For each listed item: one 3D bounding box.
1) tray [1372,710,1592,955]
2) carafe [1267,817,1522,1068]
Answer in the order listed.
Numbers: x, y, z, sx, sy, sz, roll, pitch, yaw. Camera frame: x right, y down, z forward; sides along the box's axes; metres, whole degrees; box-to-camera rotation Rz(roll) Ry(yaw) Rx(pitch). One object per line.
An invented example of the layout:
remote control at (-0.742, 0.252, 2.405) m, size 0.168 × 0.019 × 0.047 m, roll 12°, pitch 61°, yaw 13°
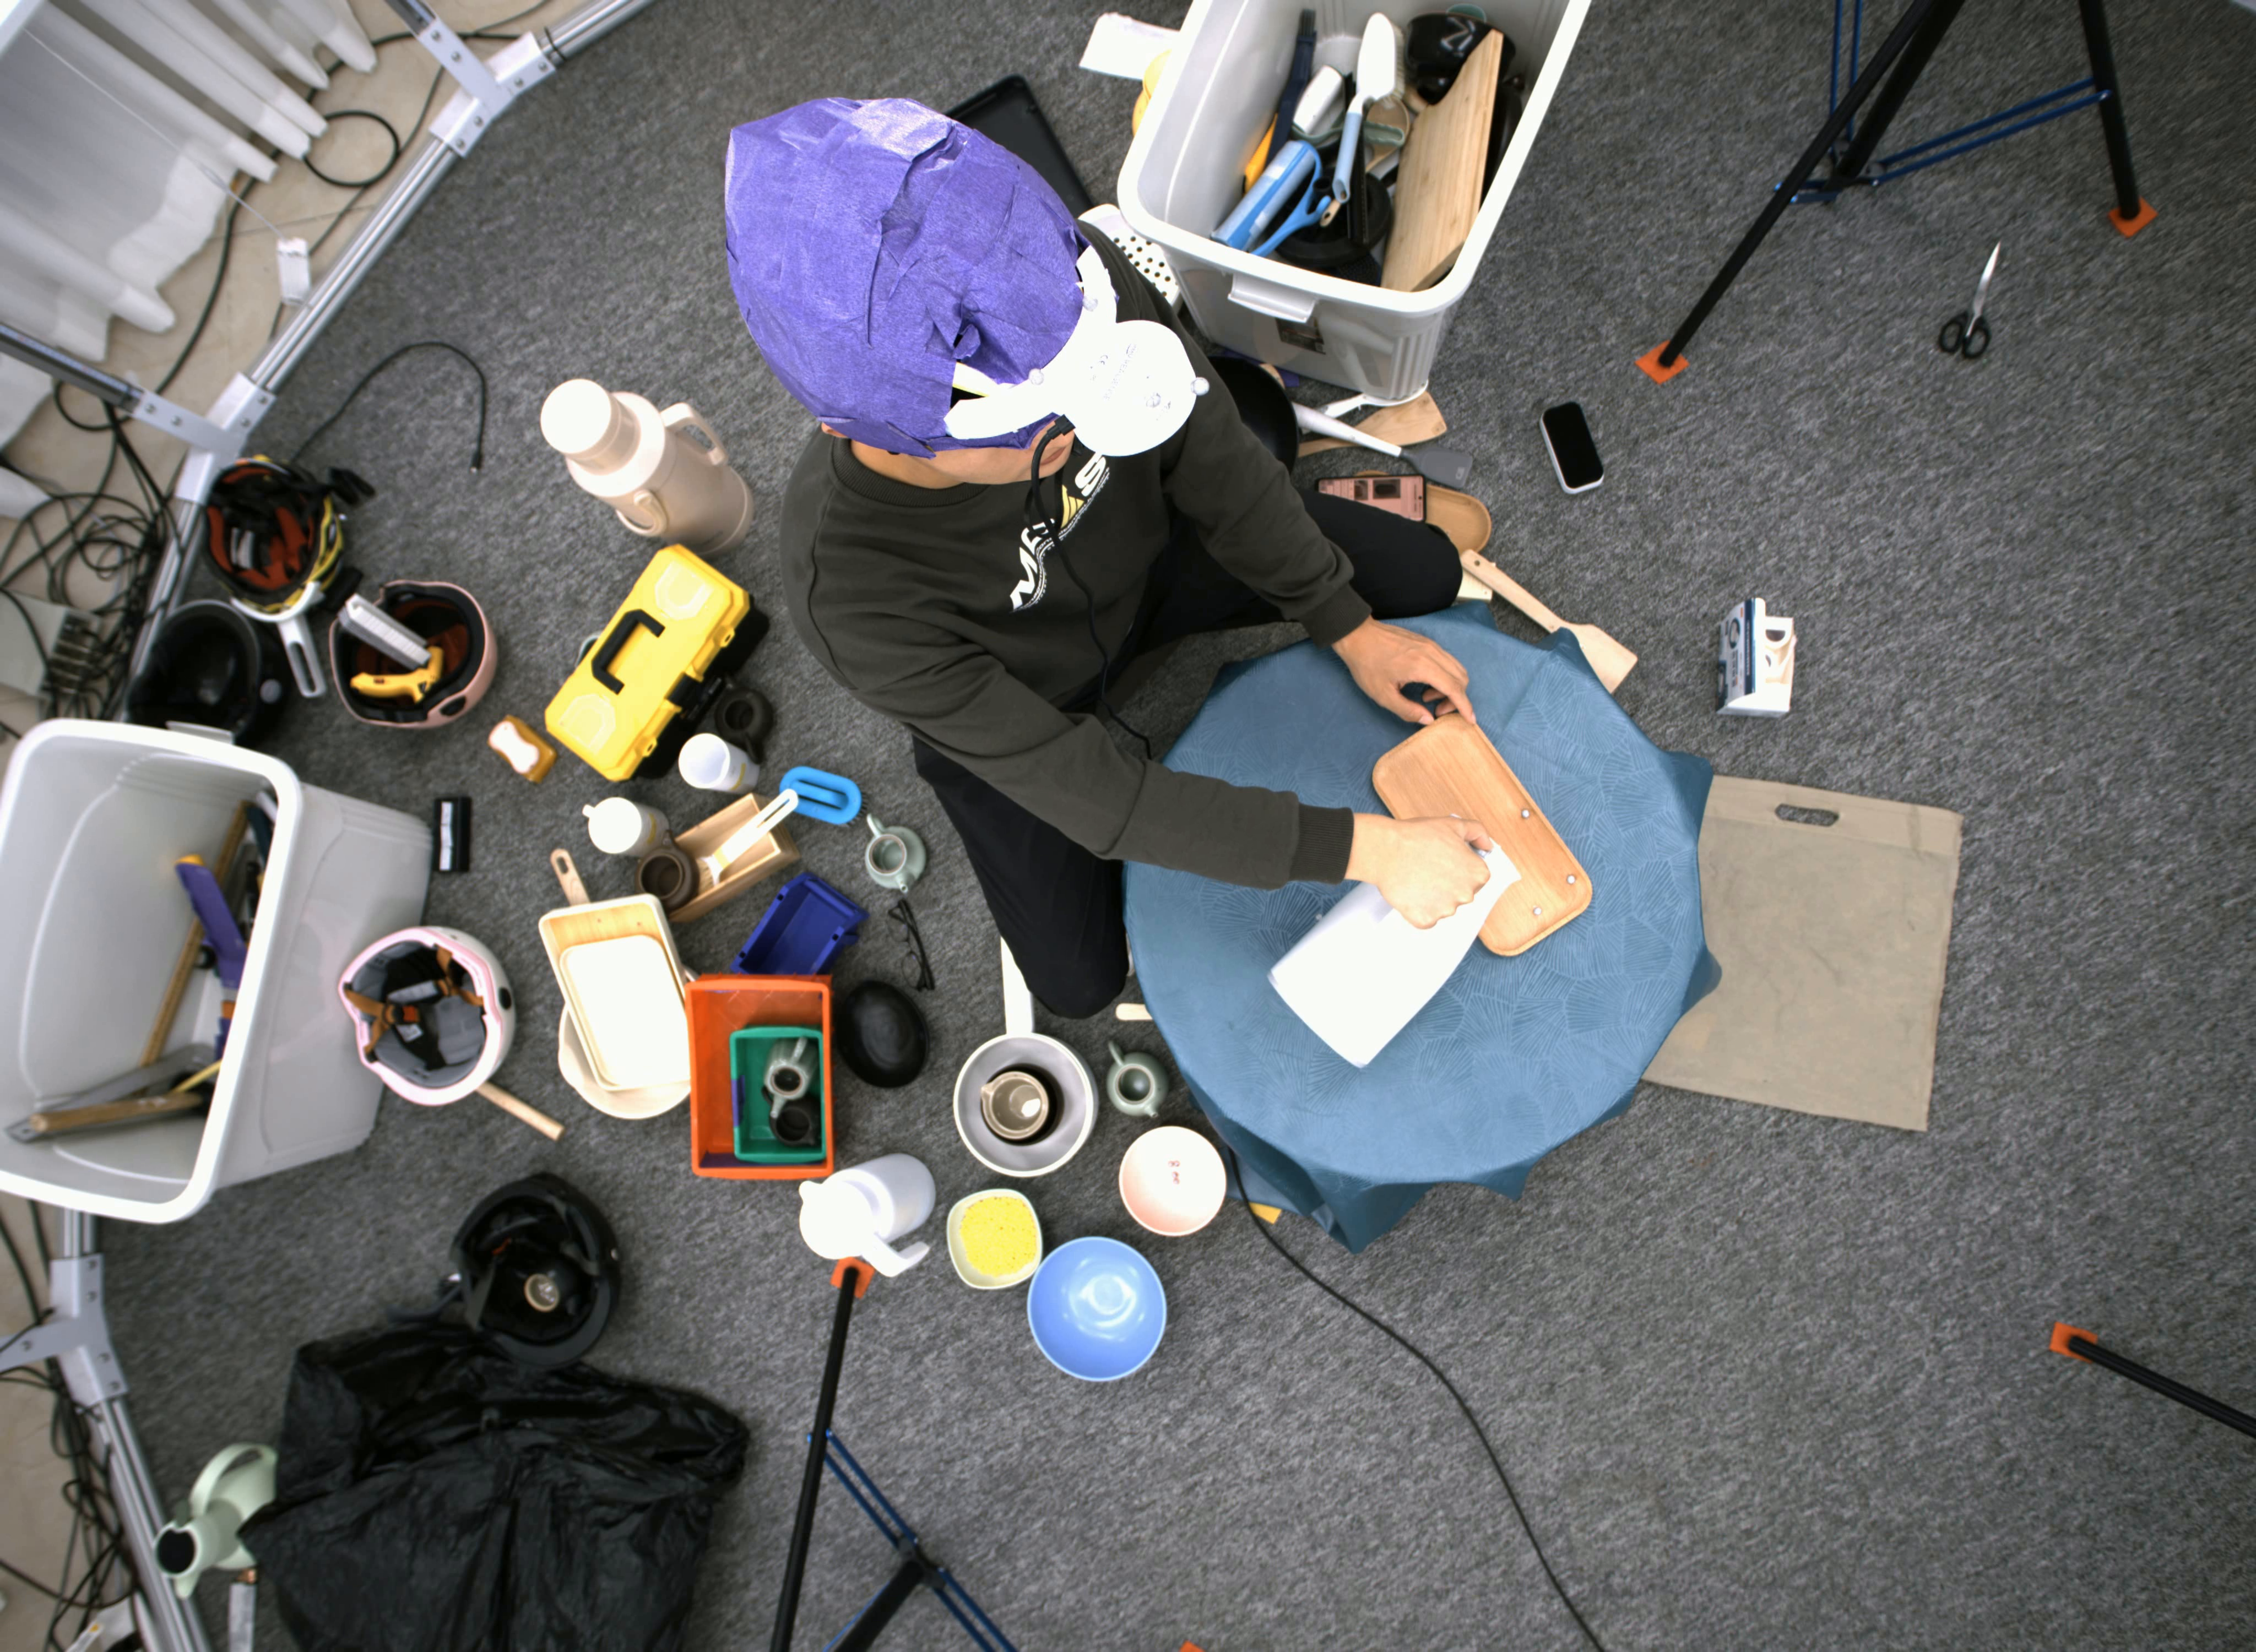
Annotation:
tray at (0.368, 0.004, 1.437) m, size 0.131 × 0.023 × 0.249 m, roll -33°, pitch 80°, yaw 5°
carafe at (0.266, 0.102, 1.337) m, size 0.250 × 0.167 × 0.132 m, roll -45°, pitch 77°, yaw 7°
